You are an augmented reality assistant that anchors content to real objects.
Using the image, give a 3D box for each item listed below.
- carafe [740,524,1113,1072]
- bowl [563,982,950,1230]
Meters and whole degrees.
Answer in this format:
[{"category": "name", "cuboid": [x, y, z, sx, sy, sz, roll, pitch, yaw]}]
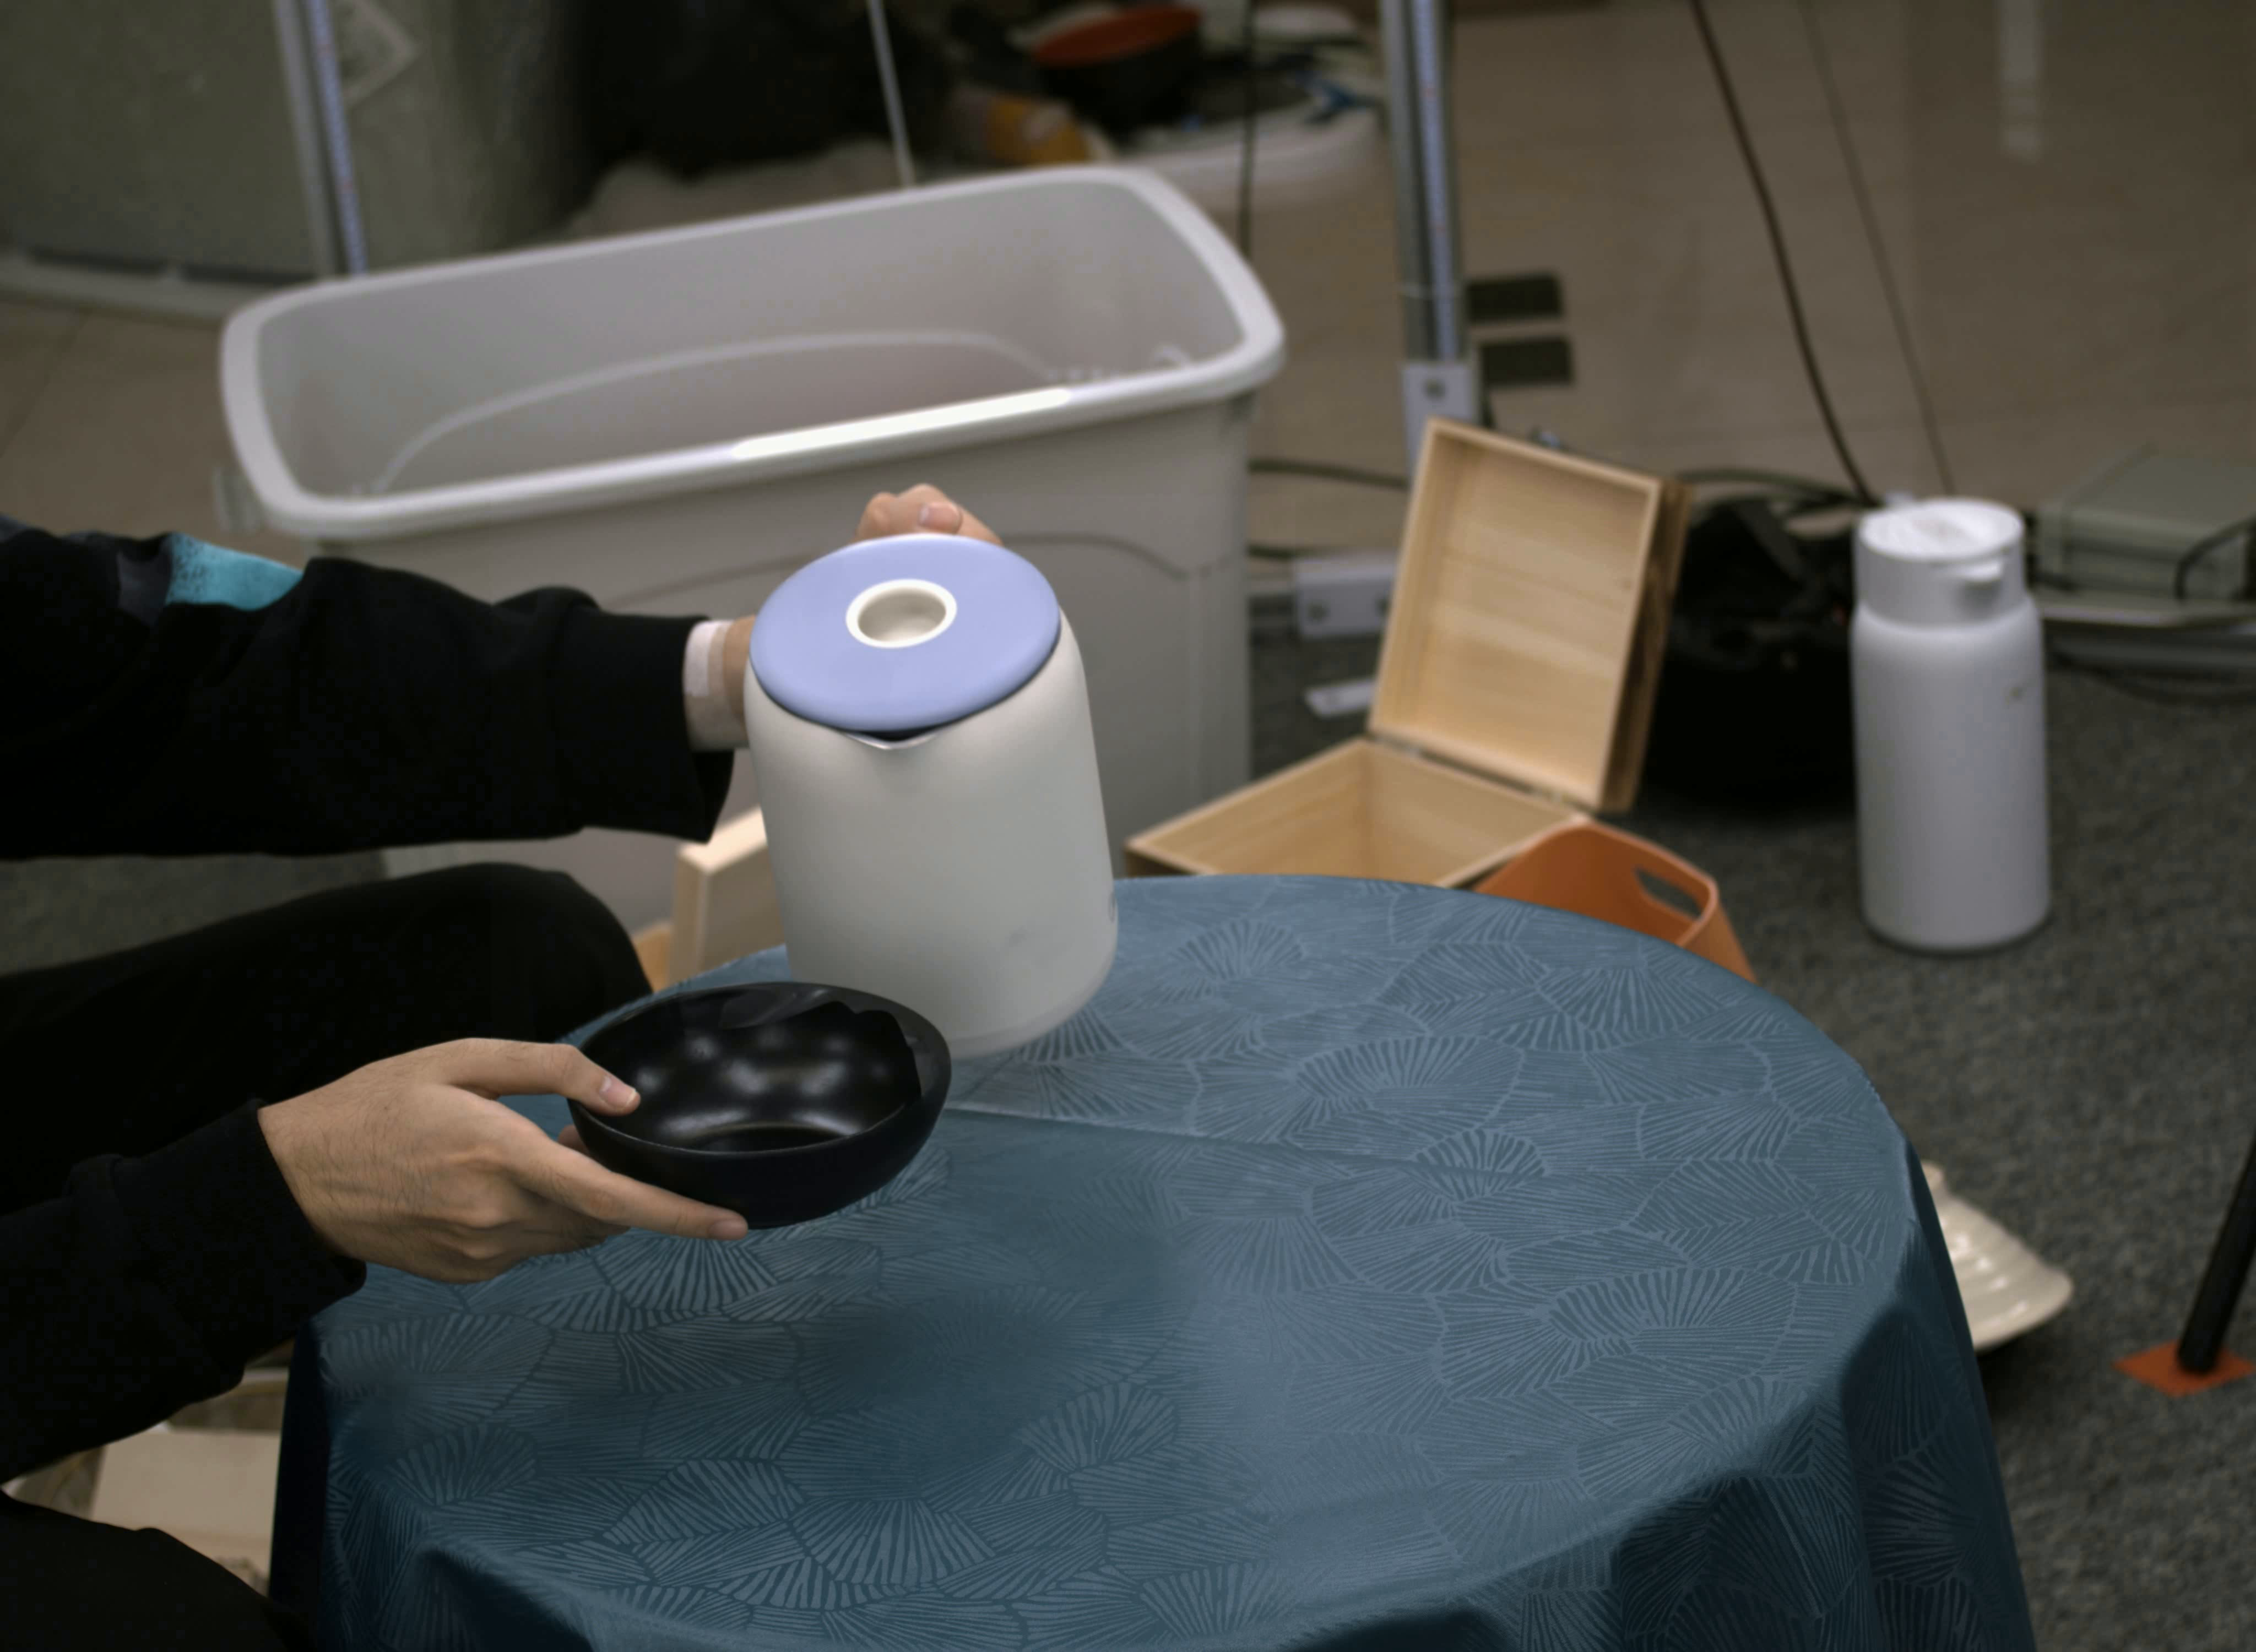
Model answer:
[{"category": "carafe", "cuboid": [-0.078, -0.023, 2.196, 0.132, 0.186, 0.187, -5, 37, 2]}, {"category": "bowl", "cuboid": [-0.131, 0.107, 2.036, 0.140, 0.050, 0.138, -3, 24, 2]}]
